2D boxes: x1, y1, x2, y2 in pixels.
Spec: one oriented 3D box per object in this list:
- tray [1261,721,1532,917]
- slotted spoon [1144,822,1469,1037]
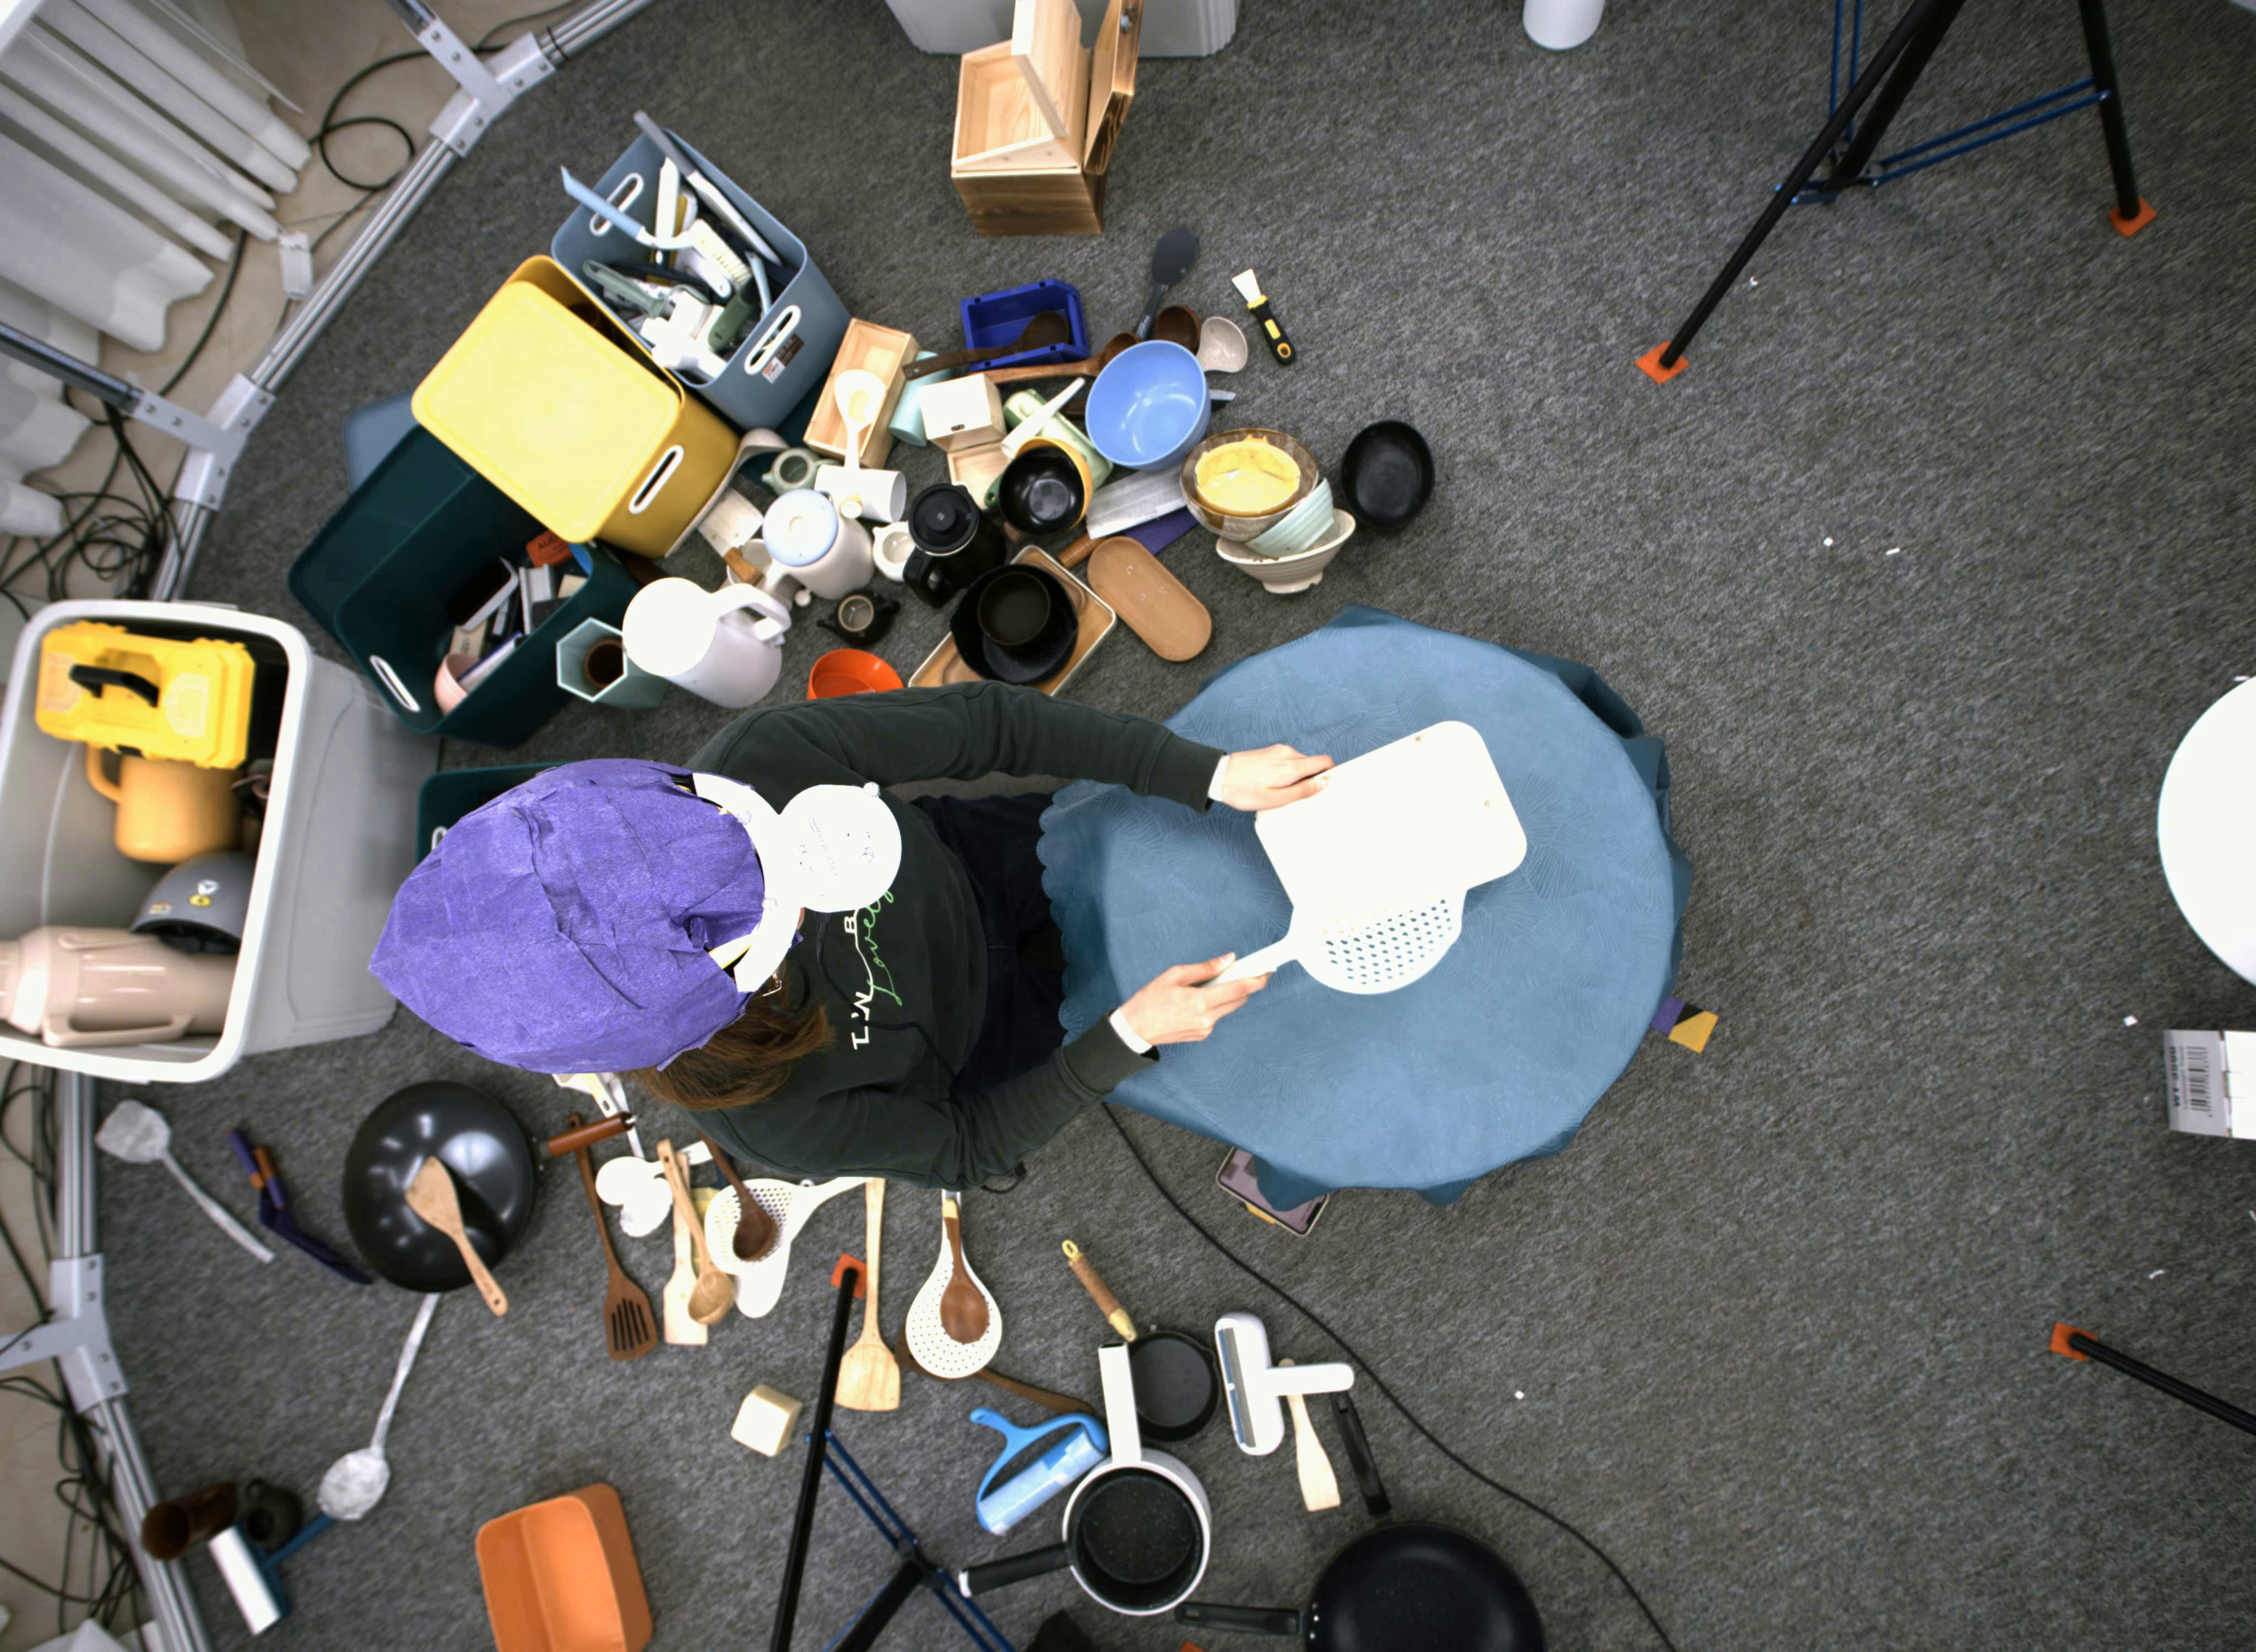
[{"bbox_3d":[0.266,0.005,1.373,0.242,0.017,0.173,-24,106,19],"label":"tray"},{"bbox_3d":[0.159,0.124,1.321,0.363,0.076,0.165,-23,49,18],"label":"slotted spoon"}]
